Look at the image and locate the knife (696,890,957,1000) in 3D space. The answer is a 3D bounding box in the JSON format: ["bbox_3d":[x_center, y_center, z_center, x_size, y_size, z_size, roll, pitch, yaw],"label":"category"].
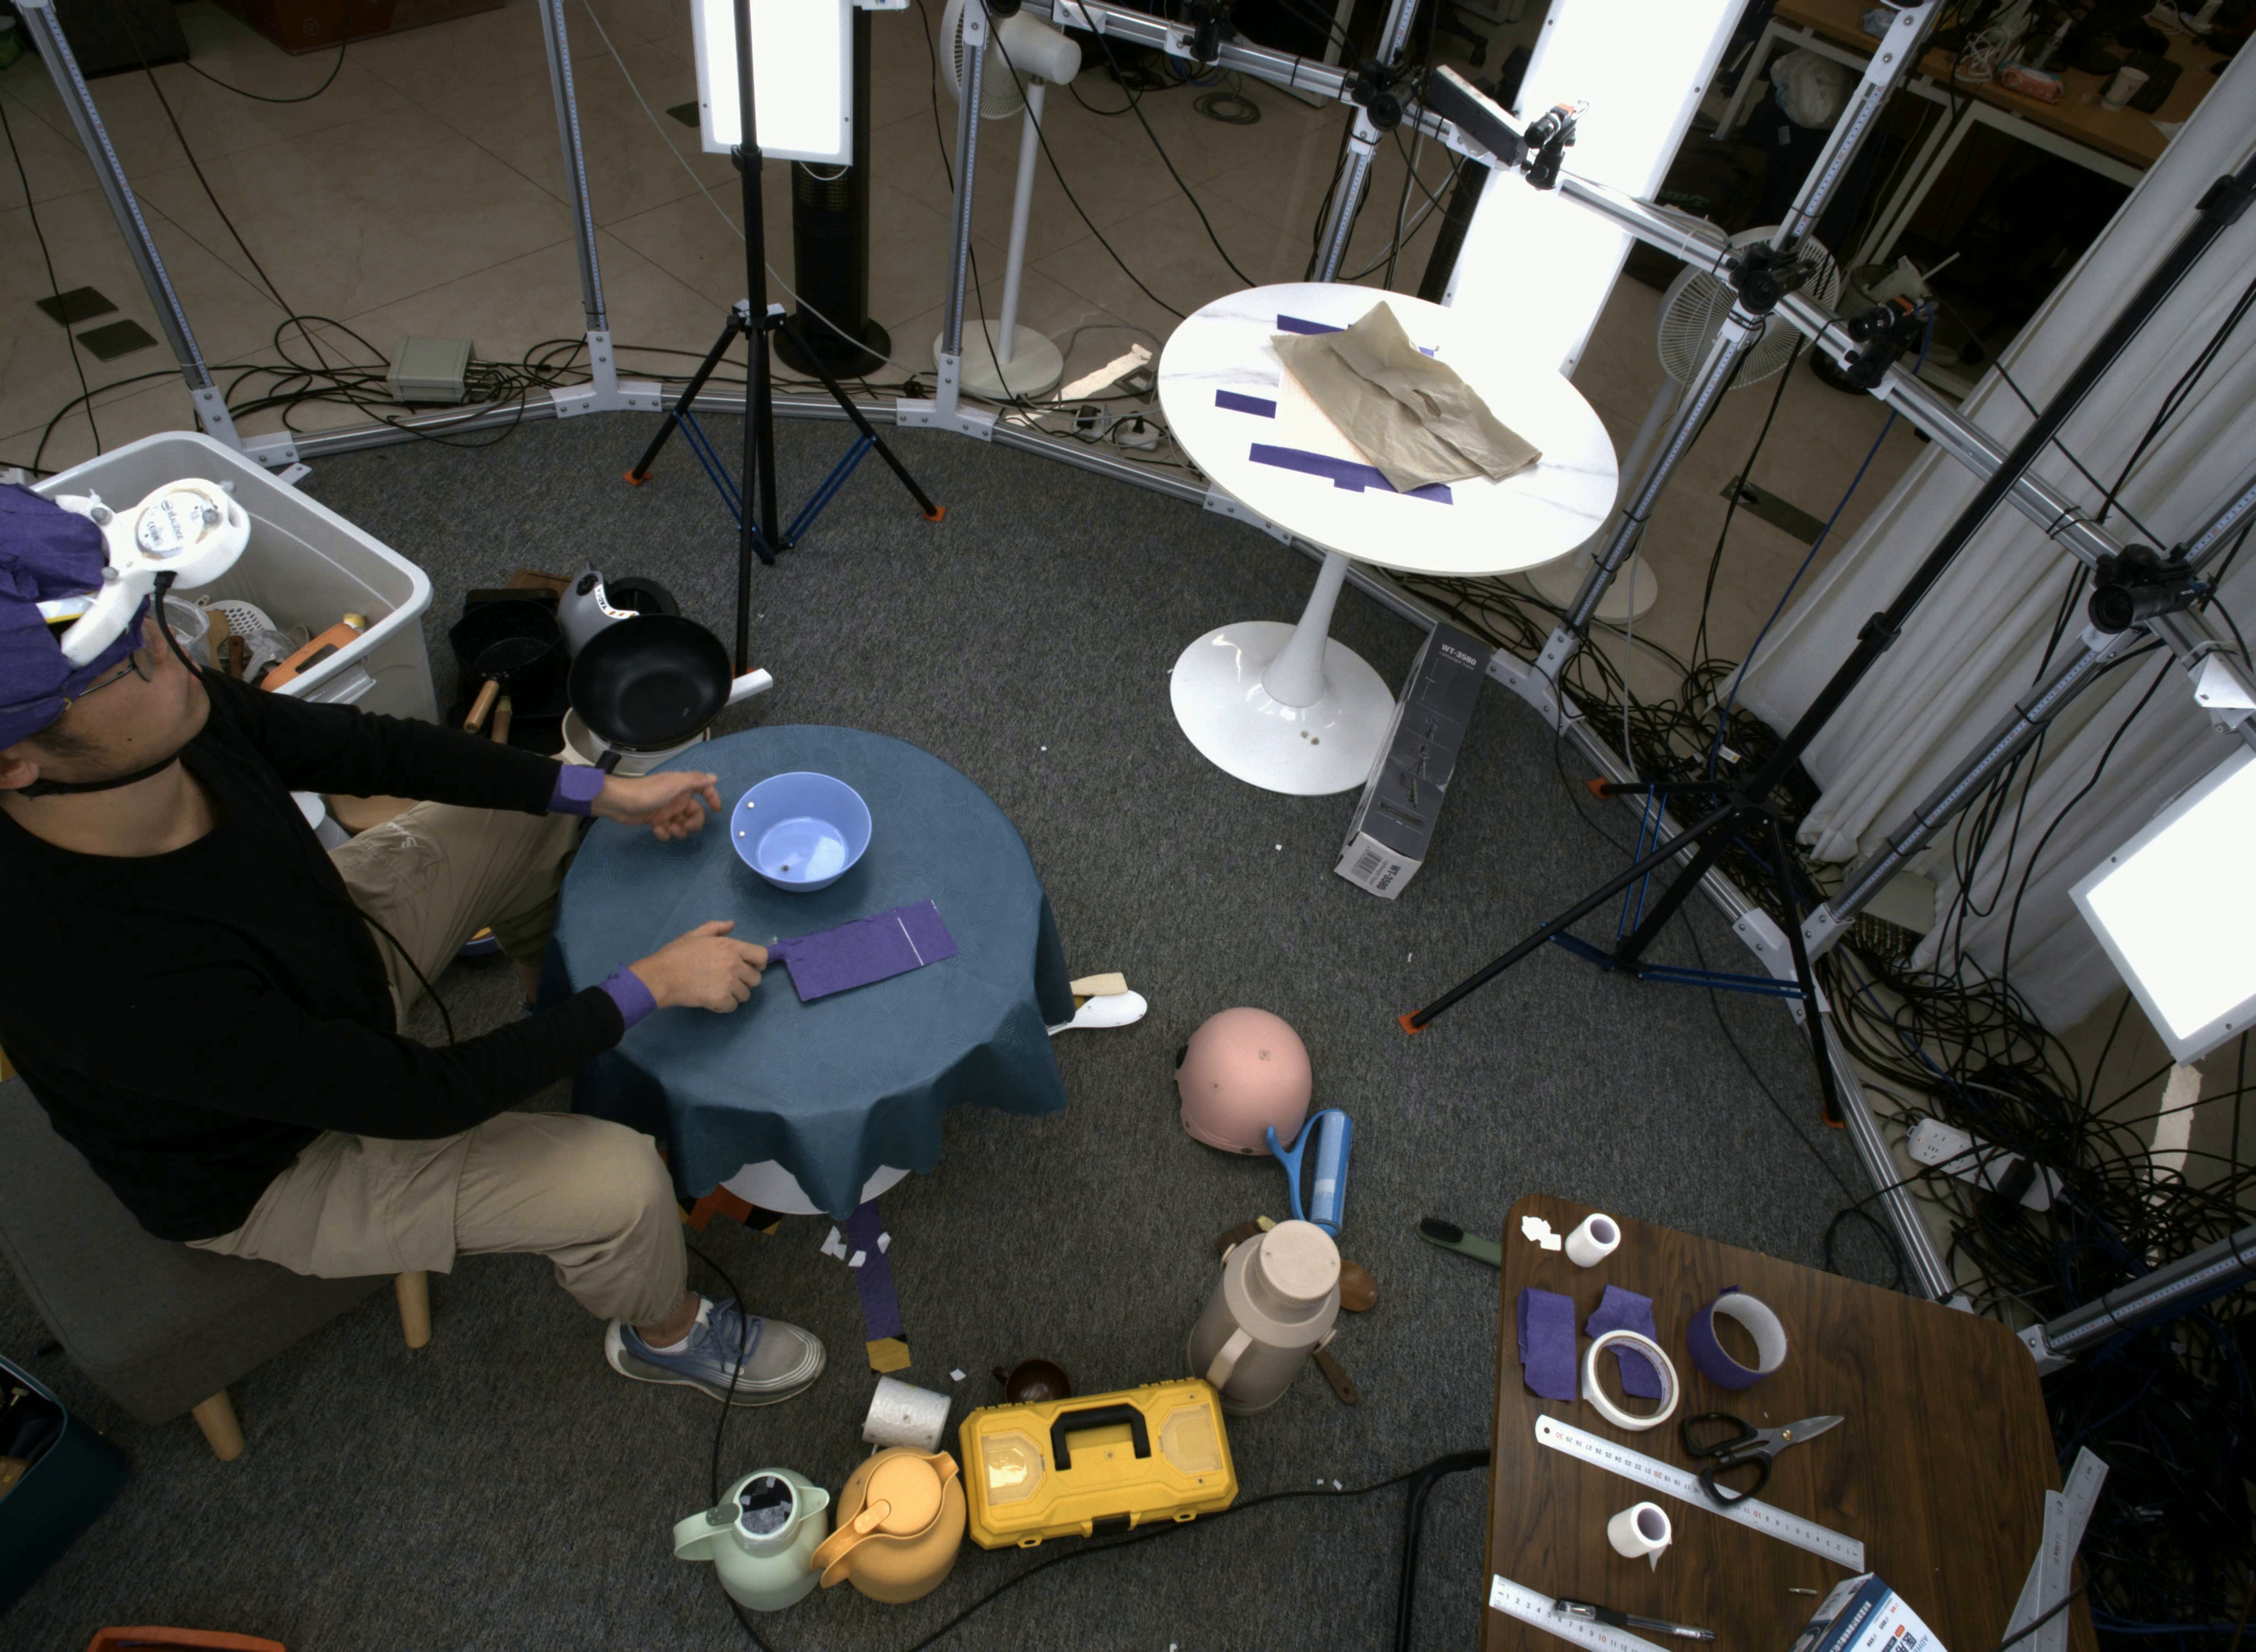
[{"bbox_3d":[-0.366,0.159,1.600,0.317,0.033,0.101,-18,60,-27],"label":"knife"}]

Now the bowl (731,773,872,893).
[{"bbox_3d":[-0.416,0.019,1.663,0.175,0.072,0.173,7,51,-7],"label":"bowl"}]
